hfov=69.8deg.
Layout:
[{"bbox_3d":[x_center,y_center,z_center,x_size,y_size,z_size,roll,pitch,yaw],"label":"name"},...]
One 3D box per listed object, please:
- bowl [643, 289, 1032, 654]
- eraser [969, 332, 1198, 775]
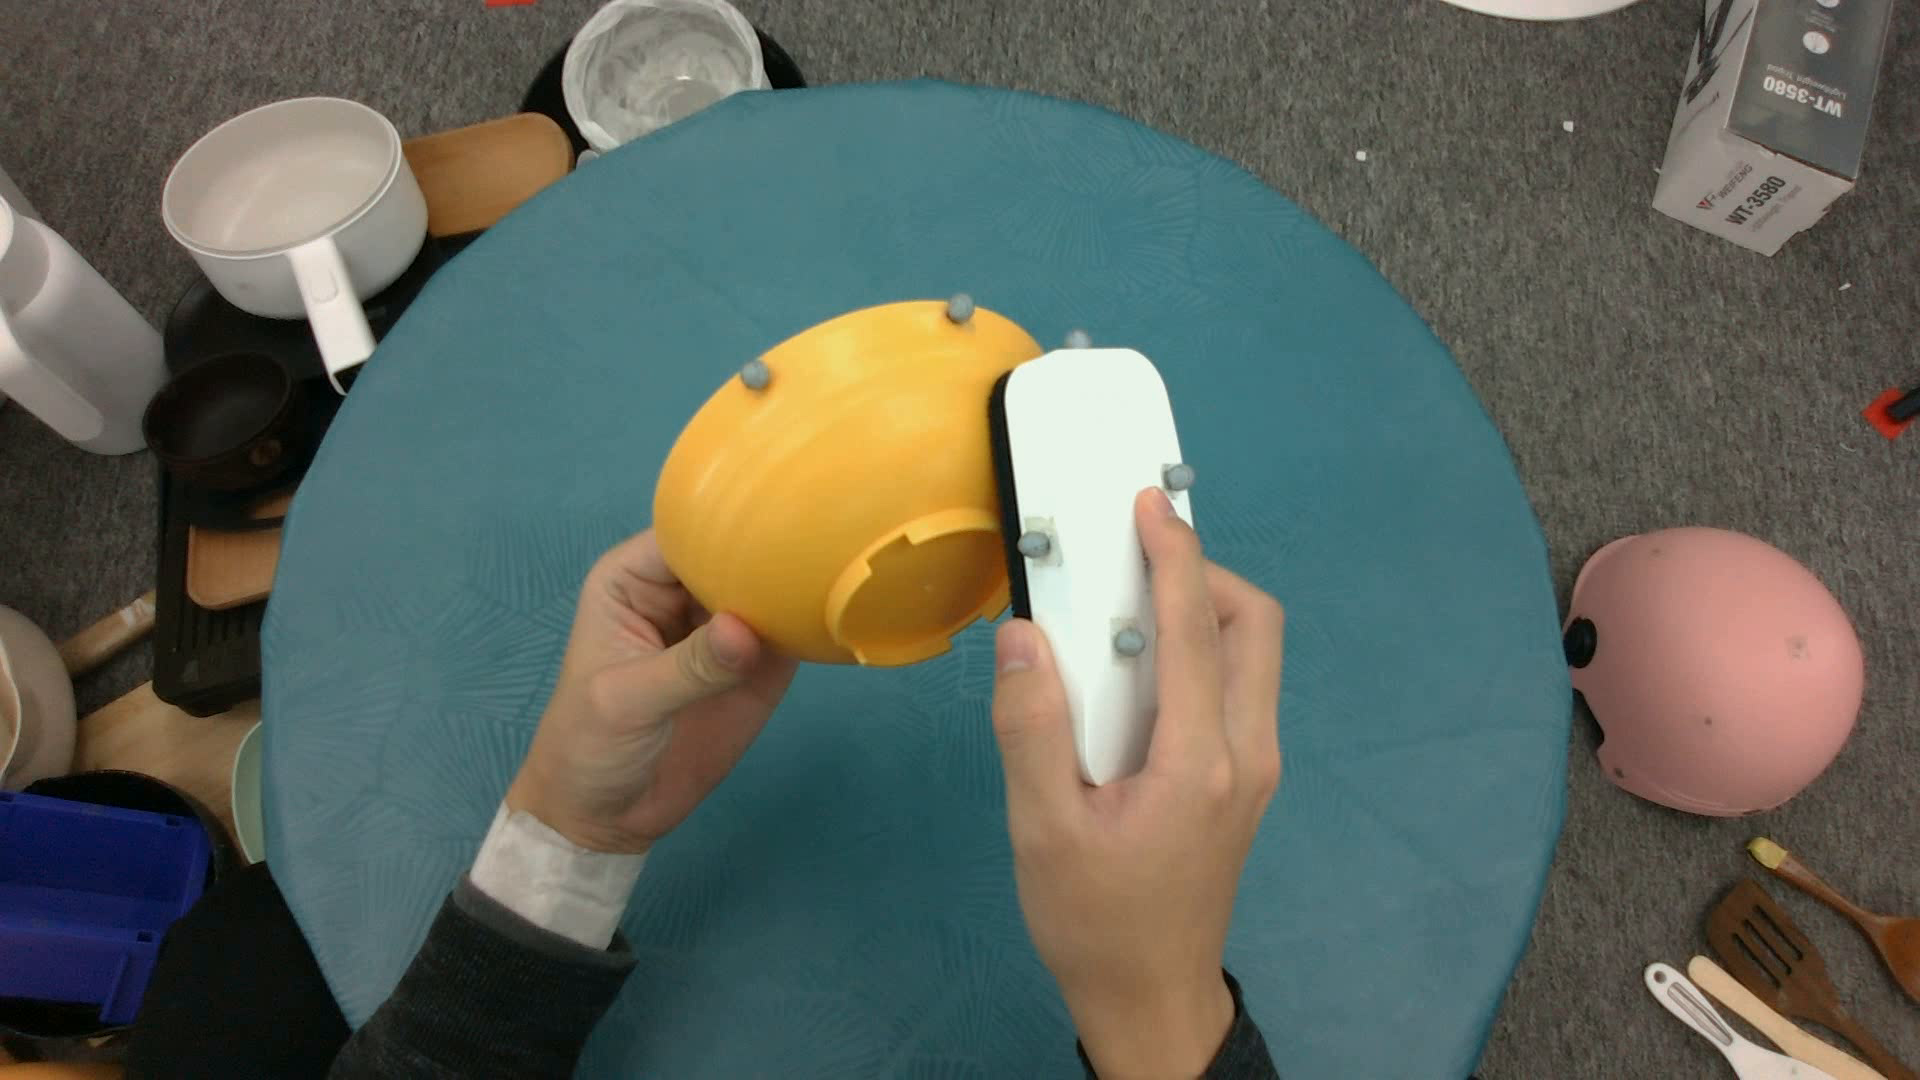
[{"bbox_3d":[-0.024,-0.006,0.445,0.145,0.144,0.060,-21,56,-12],"label":"bowl"},{"bbox_3d":[0.039,0.003,0.419,0.063,0.034,0.131,-10,92,-46],"label":"eraser"}]
